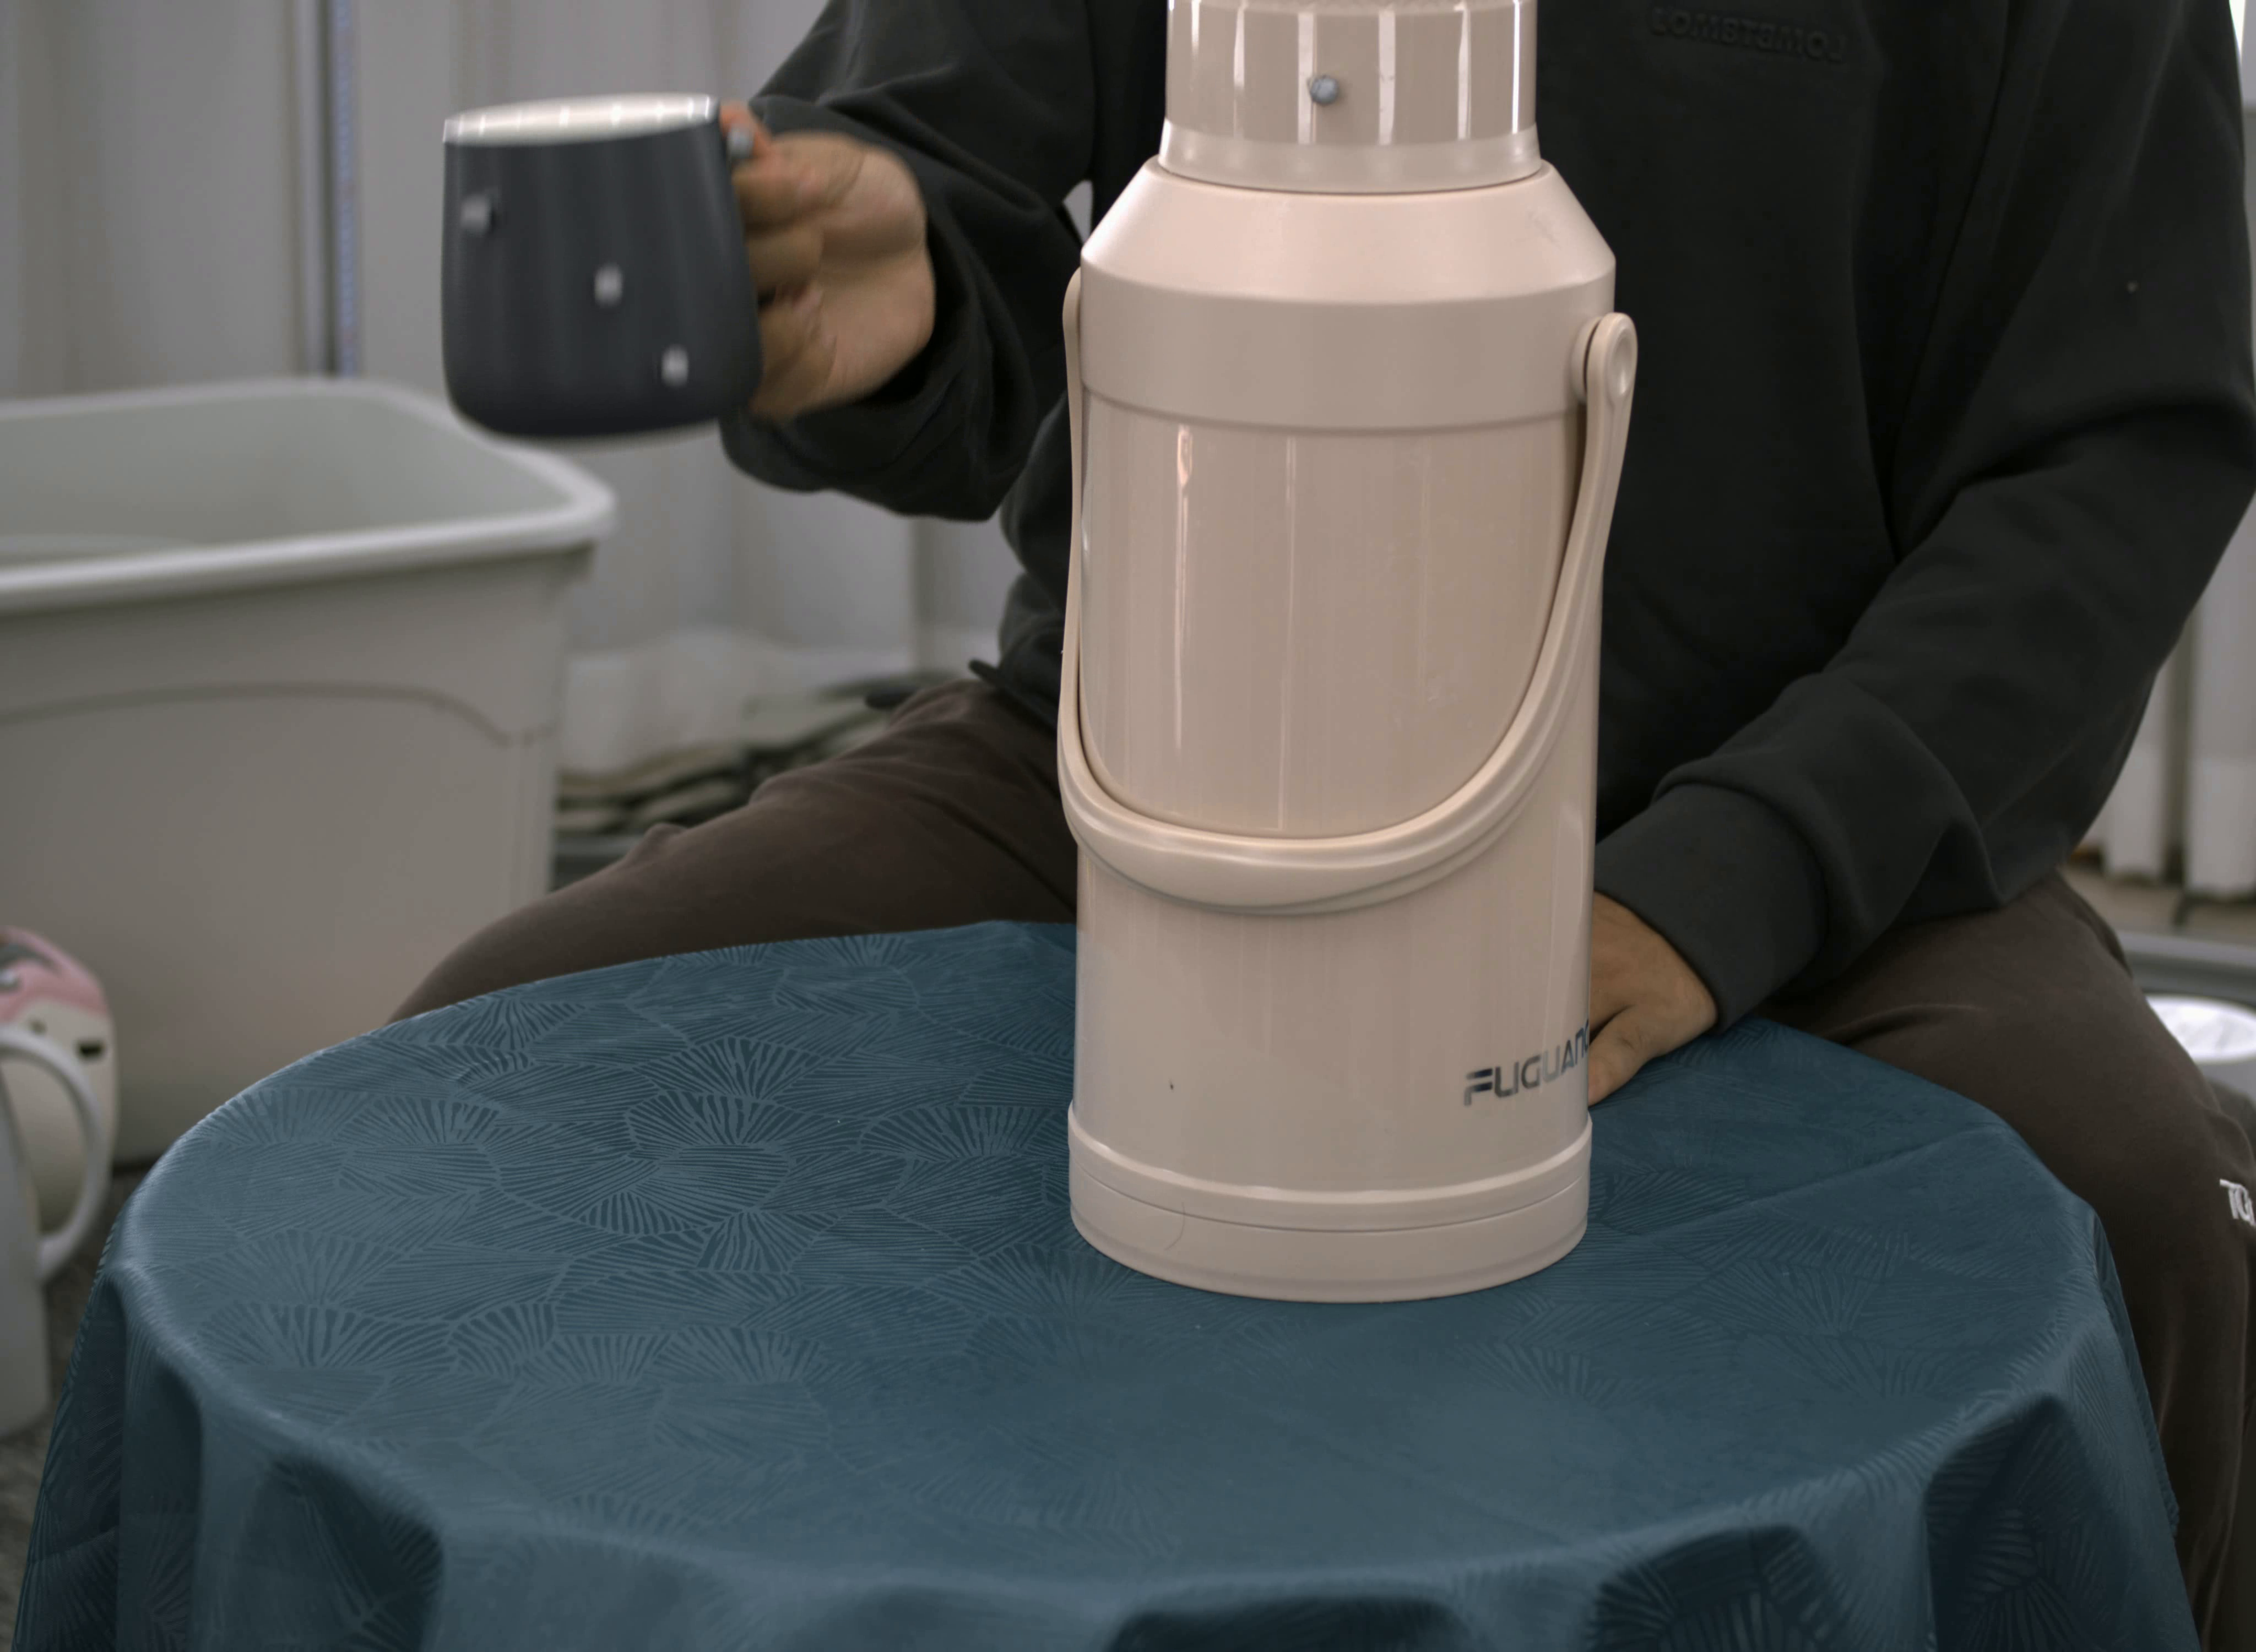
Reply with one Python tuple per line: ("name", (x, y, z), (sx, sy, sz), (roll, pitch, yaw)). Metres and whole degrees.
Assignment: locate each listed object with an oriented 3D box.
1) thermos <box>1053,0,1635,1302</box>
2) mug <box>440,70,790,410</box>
("thermos", (0.069, -0.077, 1.566), (0.173, 0.410, 0.207), (8, 18, 25))
("mug", (-0.144, -0.173, 1.529), (0.092, 0.090, 0.124), (5, 15, 38))
